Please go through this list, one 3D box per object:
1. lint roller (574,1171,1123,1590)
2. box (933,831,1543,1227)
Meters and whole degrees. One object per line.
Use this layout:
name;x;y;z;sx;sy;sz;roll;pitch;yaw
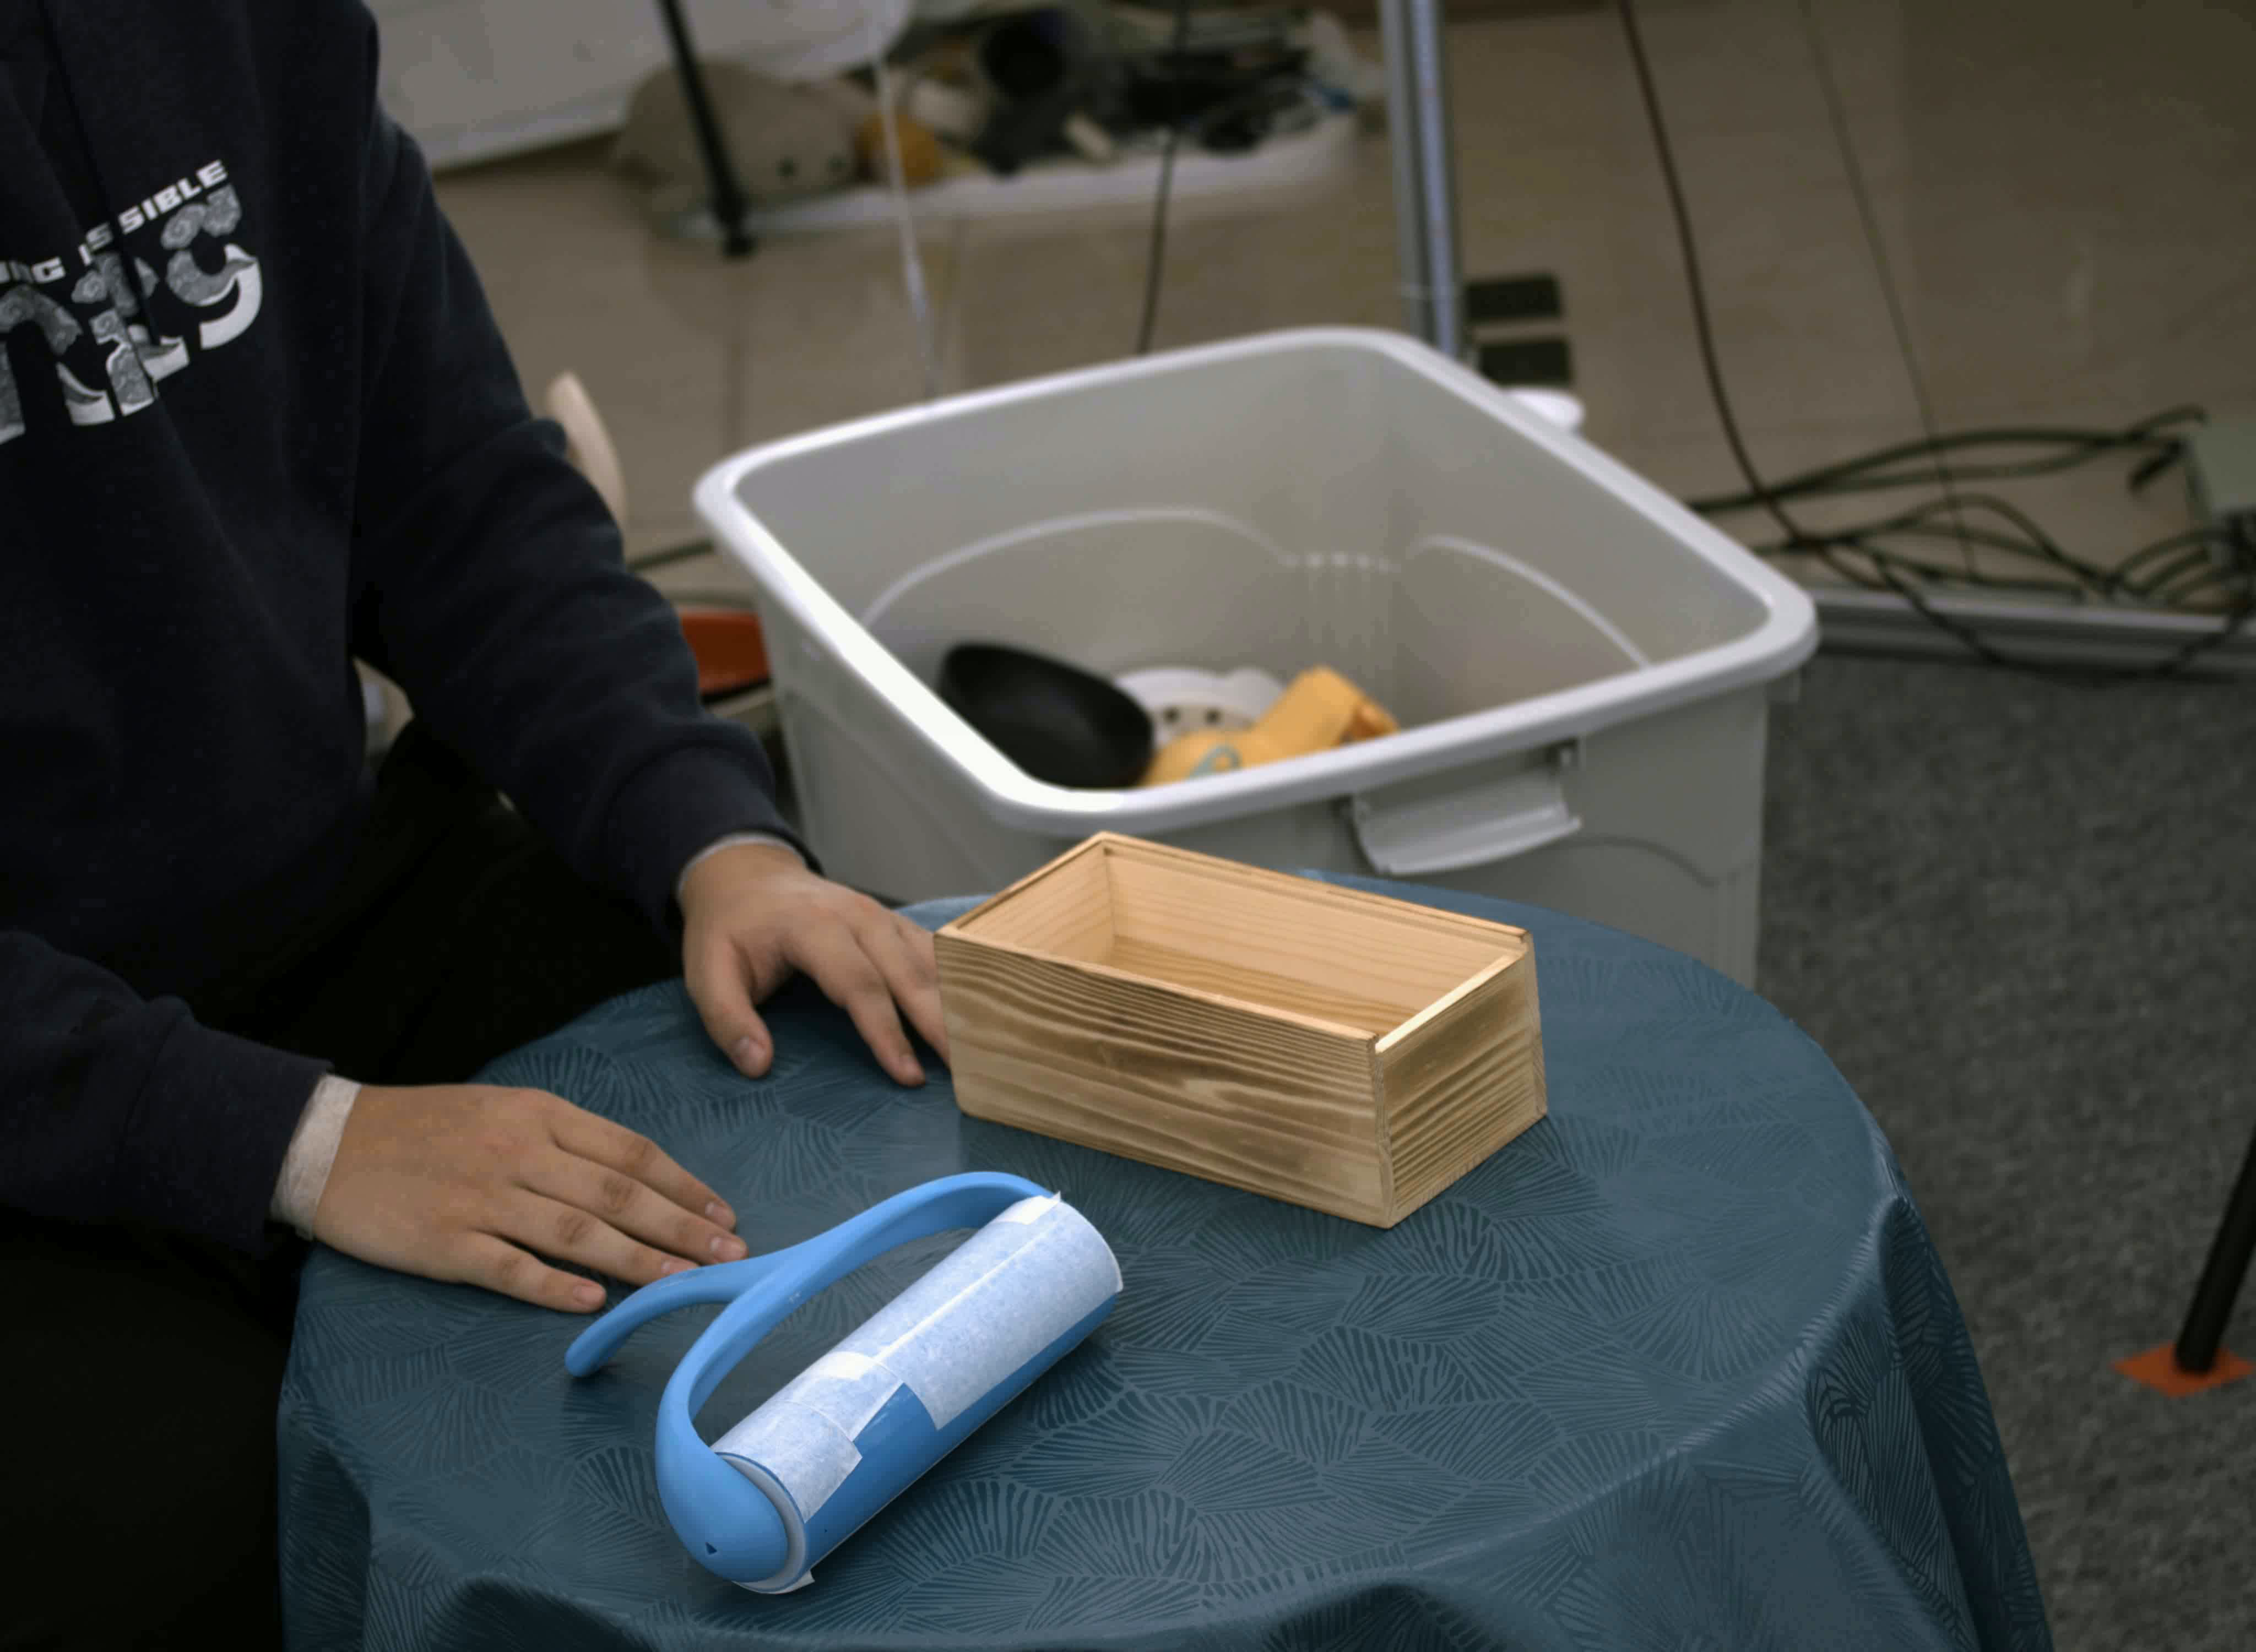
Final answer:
lint roller;-0.127;0.185;2.007;0.179;0.069;0.226;11;32;30
box;0.041;0.075;2.180;0.210;0.081;0.106;13;31;36
